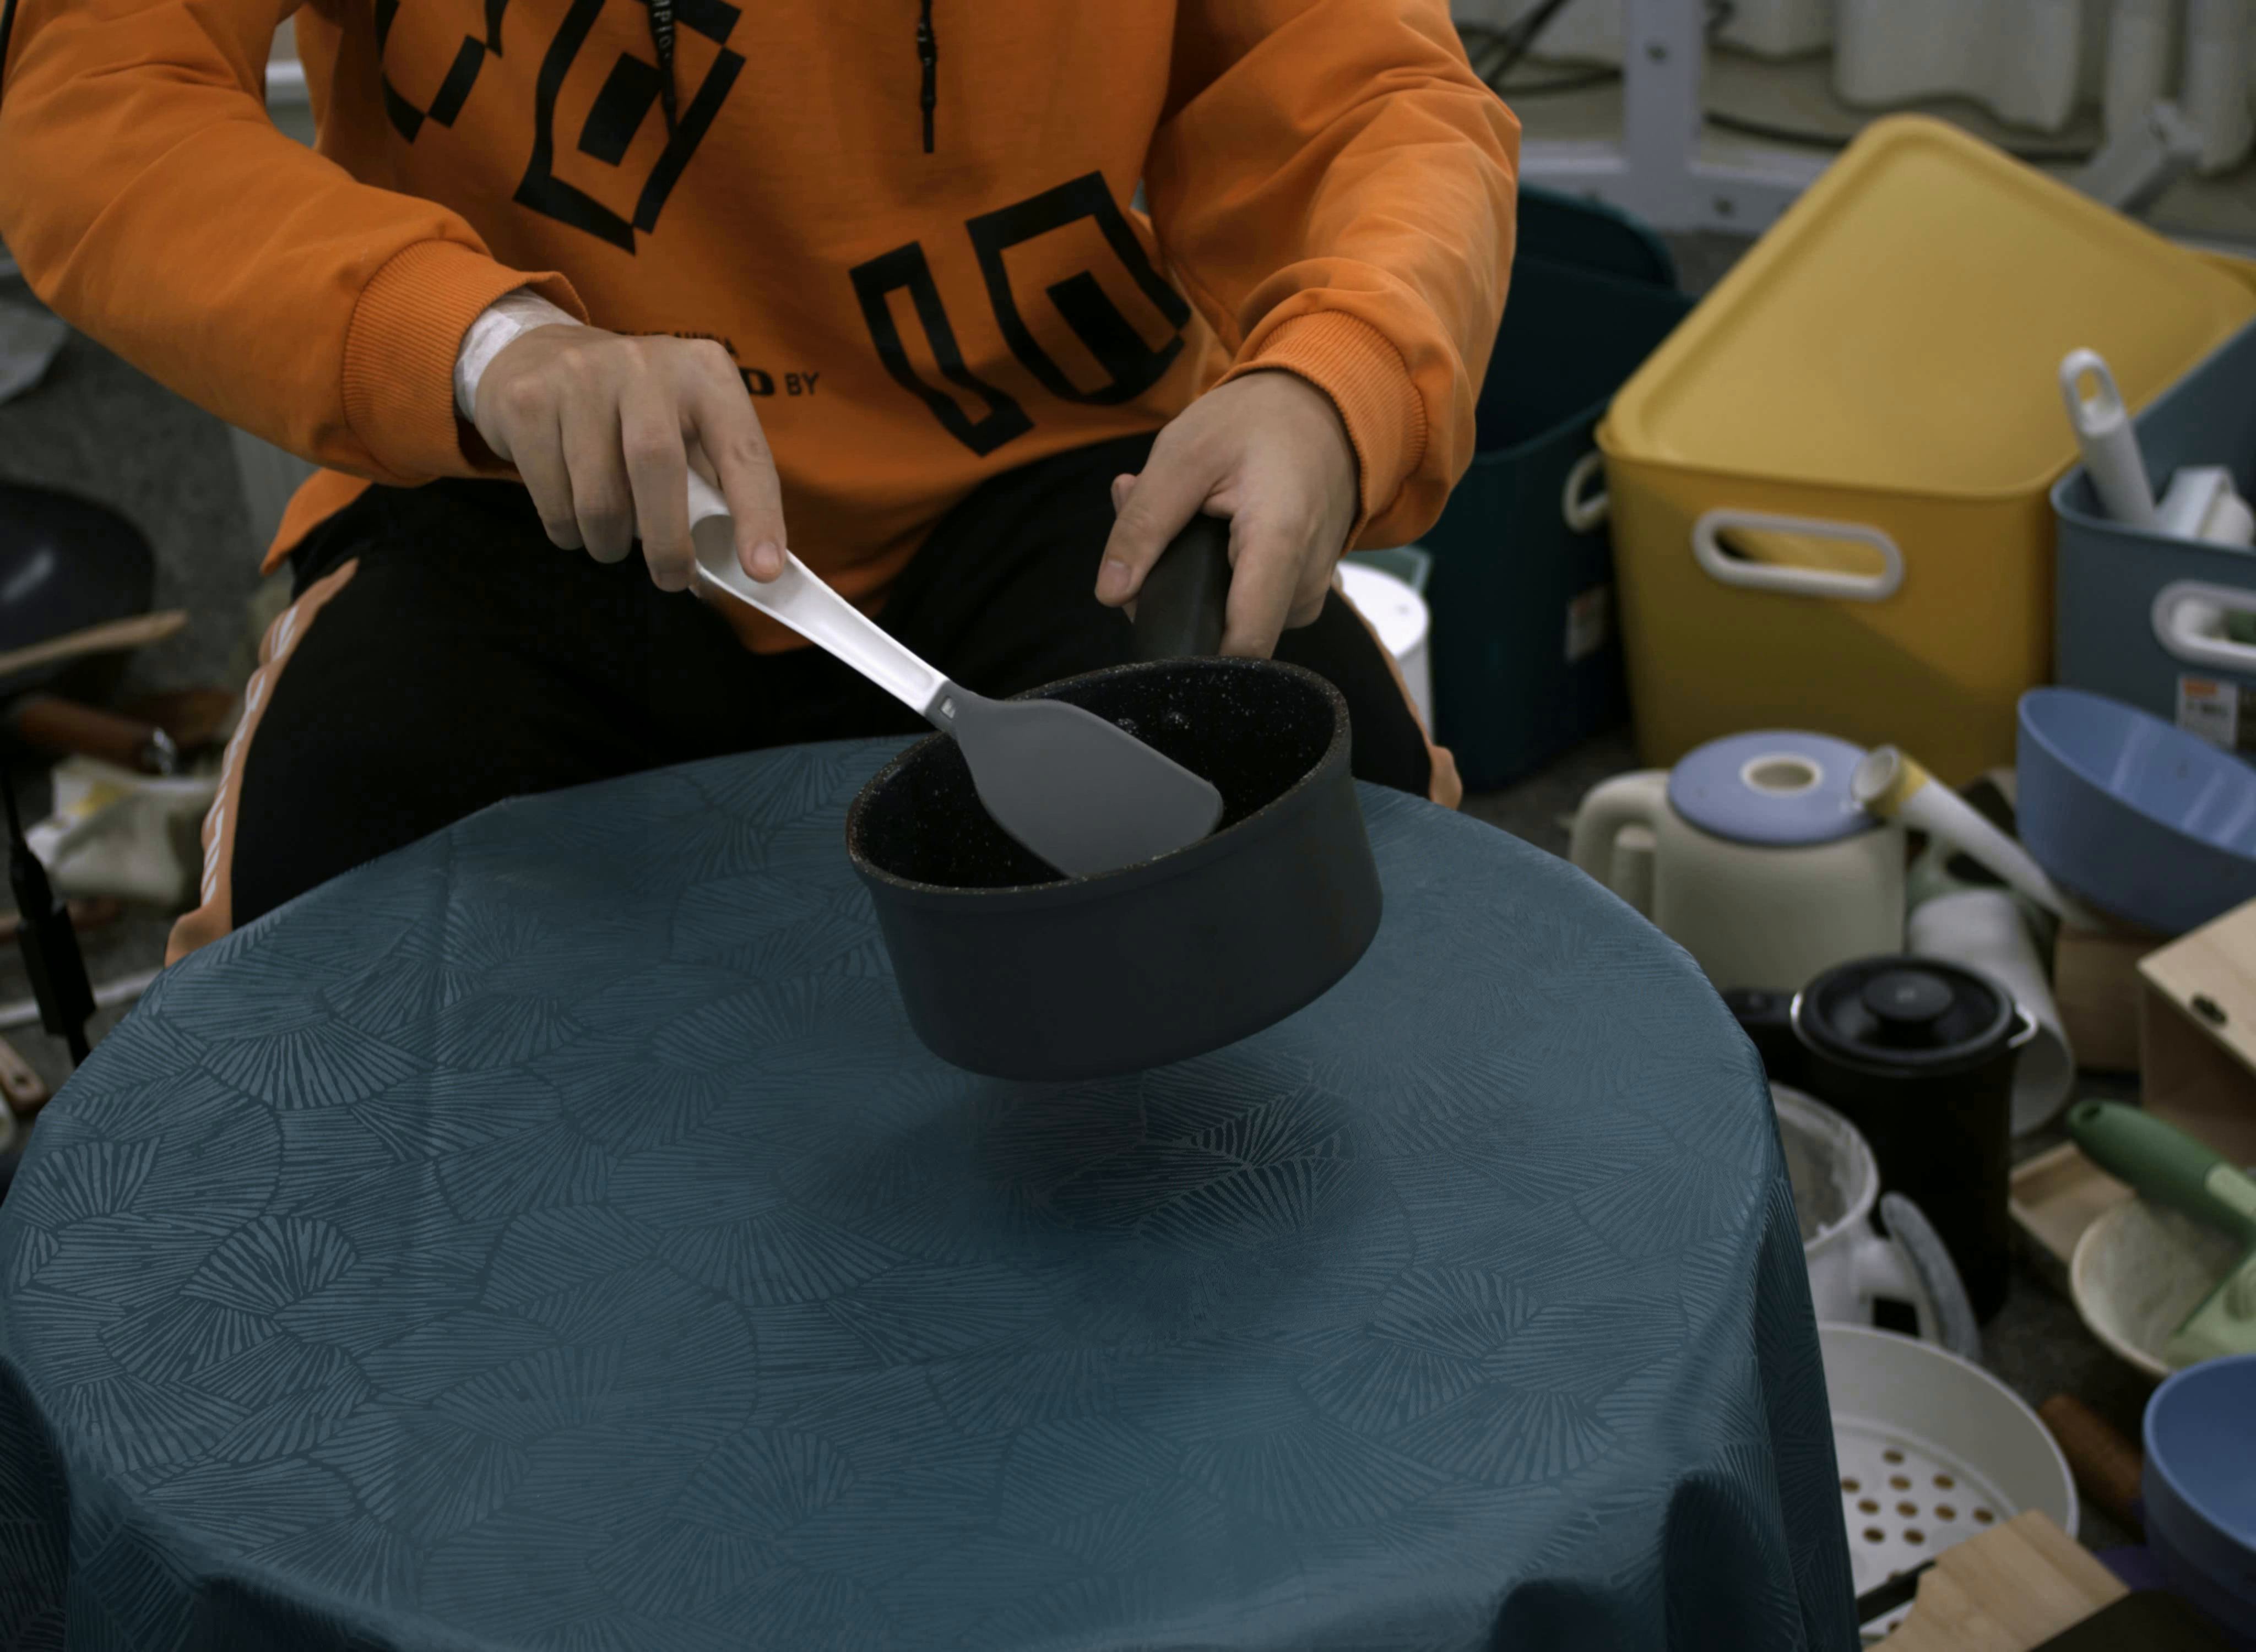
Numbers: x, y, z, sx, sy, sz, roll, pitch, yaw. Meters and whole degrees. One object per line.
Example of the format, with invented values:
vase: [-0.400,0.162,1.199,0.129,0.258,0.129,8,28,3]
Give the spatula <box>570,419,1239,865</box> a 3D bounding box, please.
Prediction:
spatula: [-0.082,-0.060,1.903,0.288,0.059,0.032,34,-2,30]

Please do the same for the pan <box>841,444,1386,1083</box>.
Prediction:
pan: [0.013,-0.025,1.920,0.170,0.086,0.334,-7,26,17]
